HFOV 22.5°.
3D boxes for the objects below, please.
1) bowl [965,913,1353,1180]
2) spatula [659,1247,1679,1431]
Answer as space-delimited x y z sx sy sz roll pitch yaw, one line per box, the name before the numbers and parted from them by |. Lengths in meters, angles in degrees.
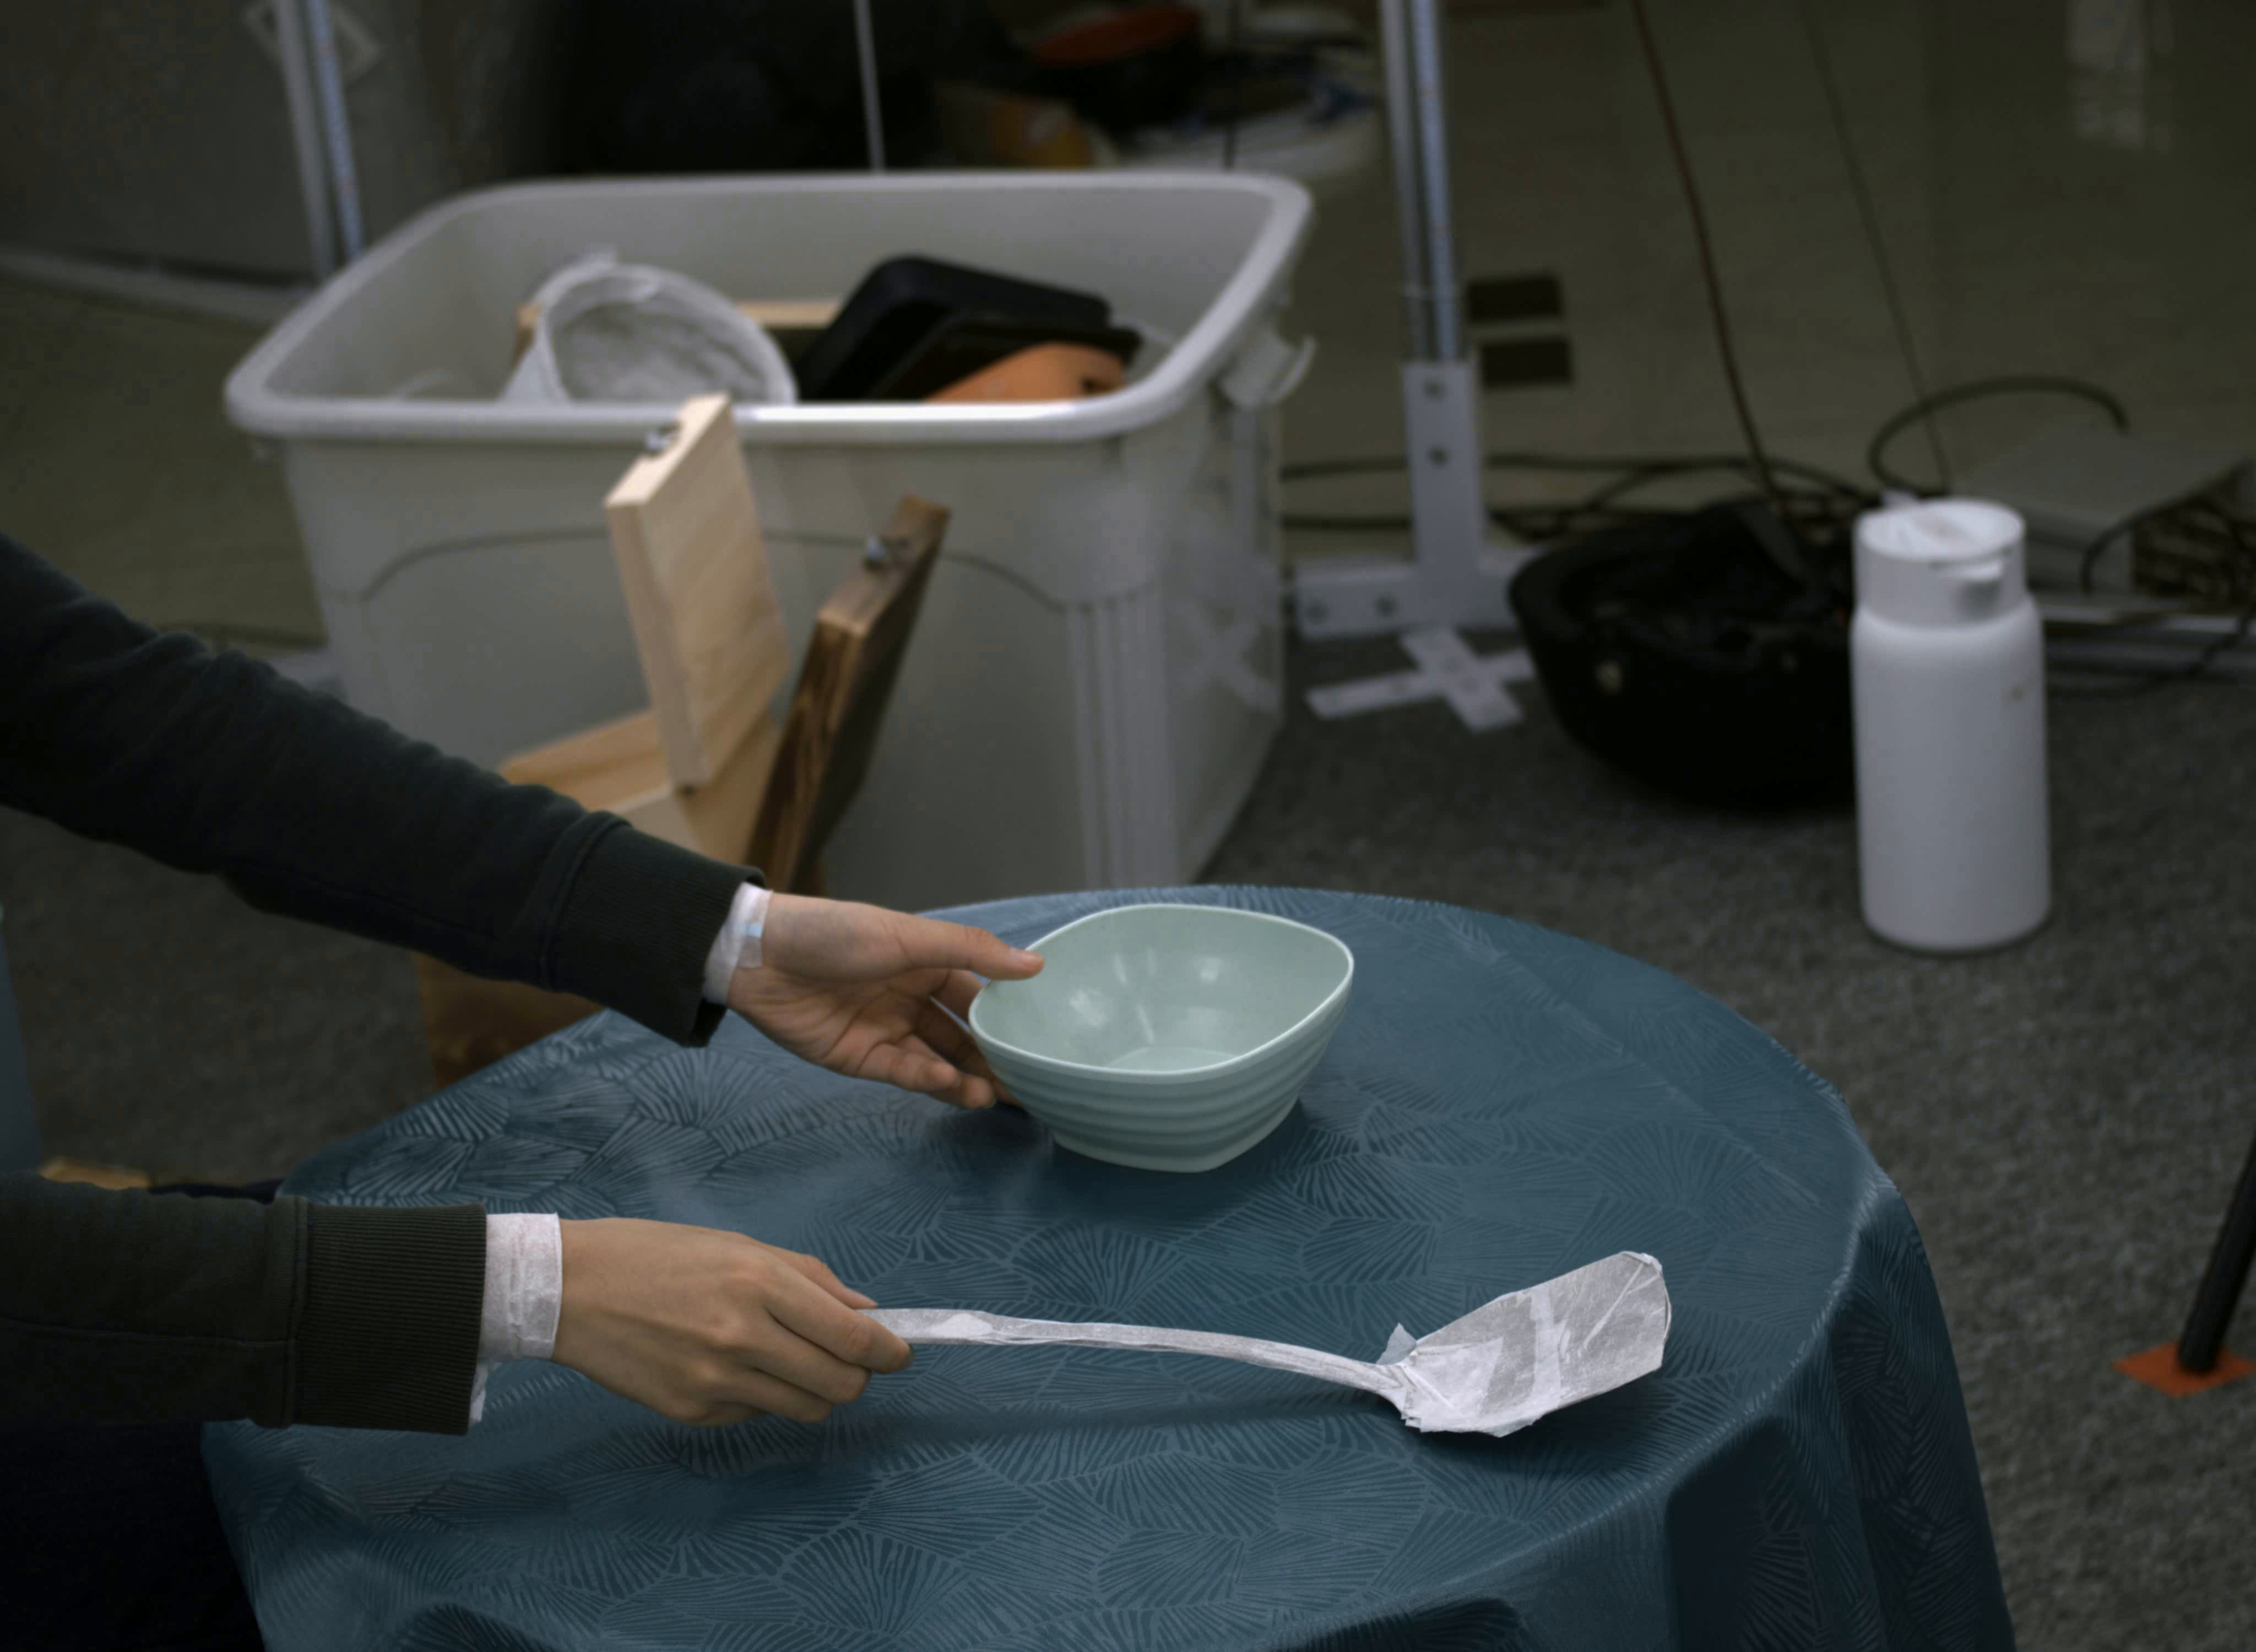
bowl | 0.014 0.090 2.190 0.151 0.059 0.149 -3 24 2
spatula | 0.010 0.176 1.999 0.364 0.045 0.097 4 27 6
